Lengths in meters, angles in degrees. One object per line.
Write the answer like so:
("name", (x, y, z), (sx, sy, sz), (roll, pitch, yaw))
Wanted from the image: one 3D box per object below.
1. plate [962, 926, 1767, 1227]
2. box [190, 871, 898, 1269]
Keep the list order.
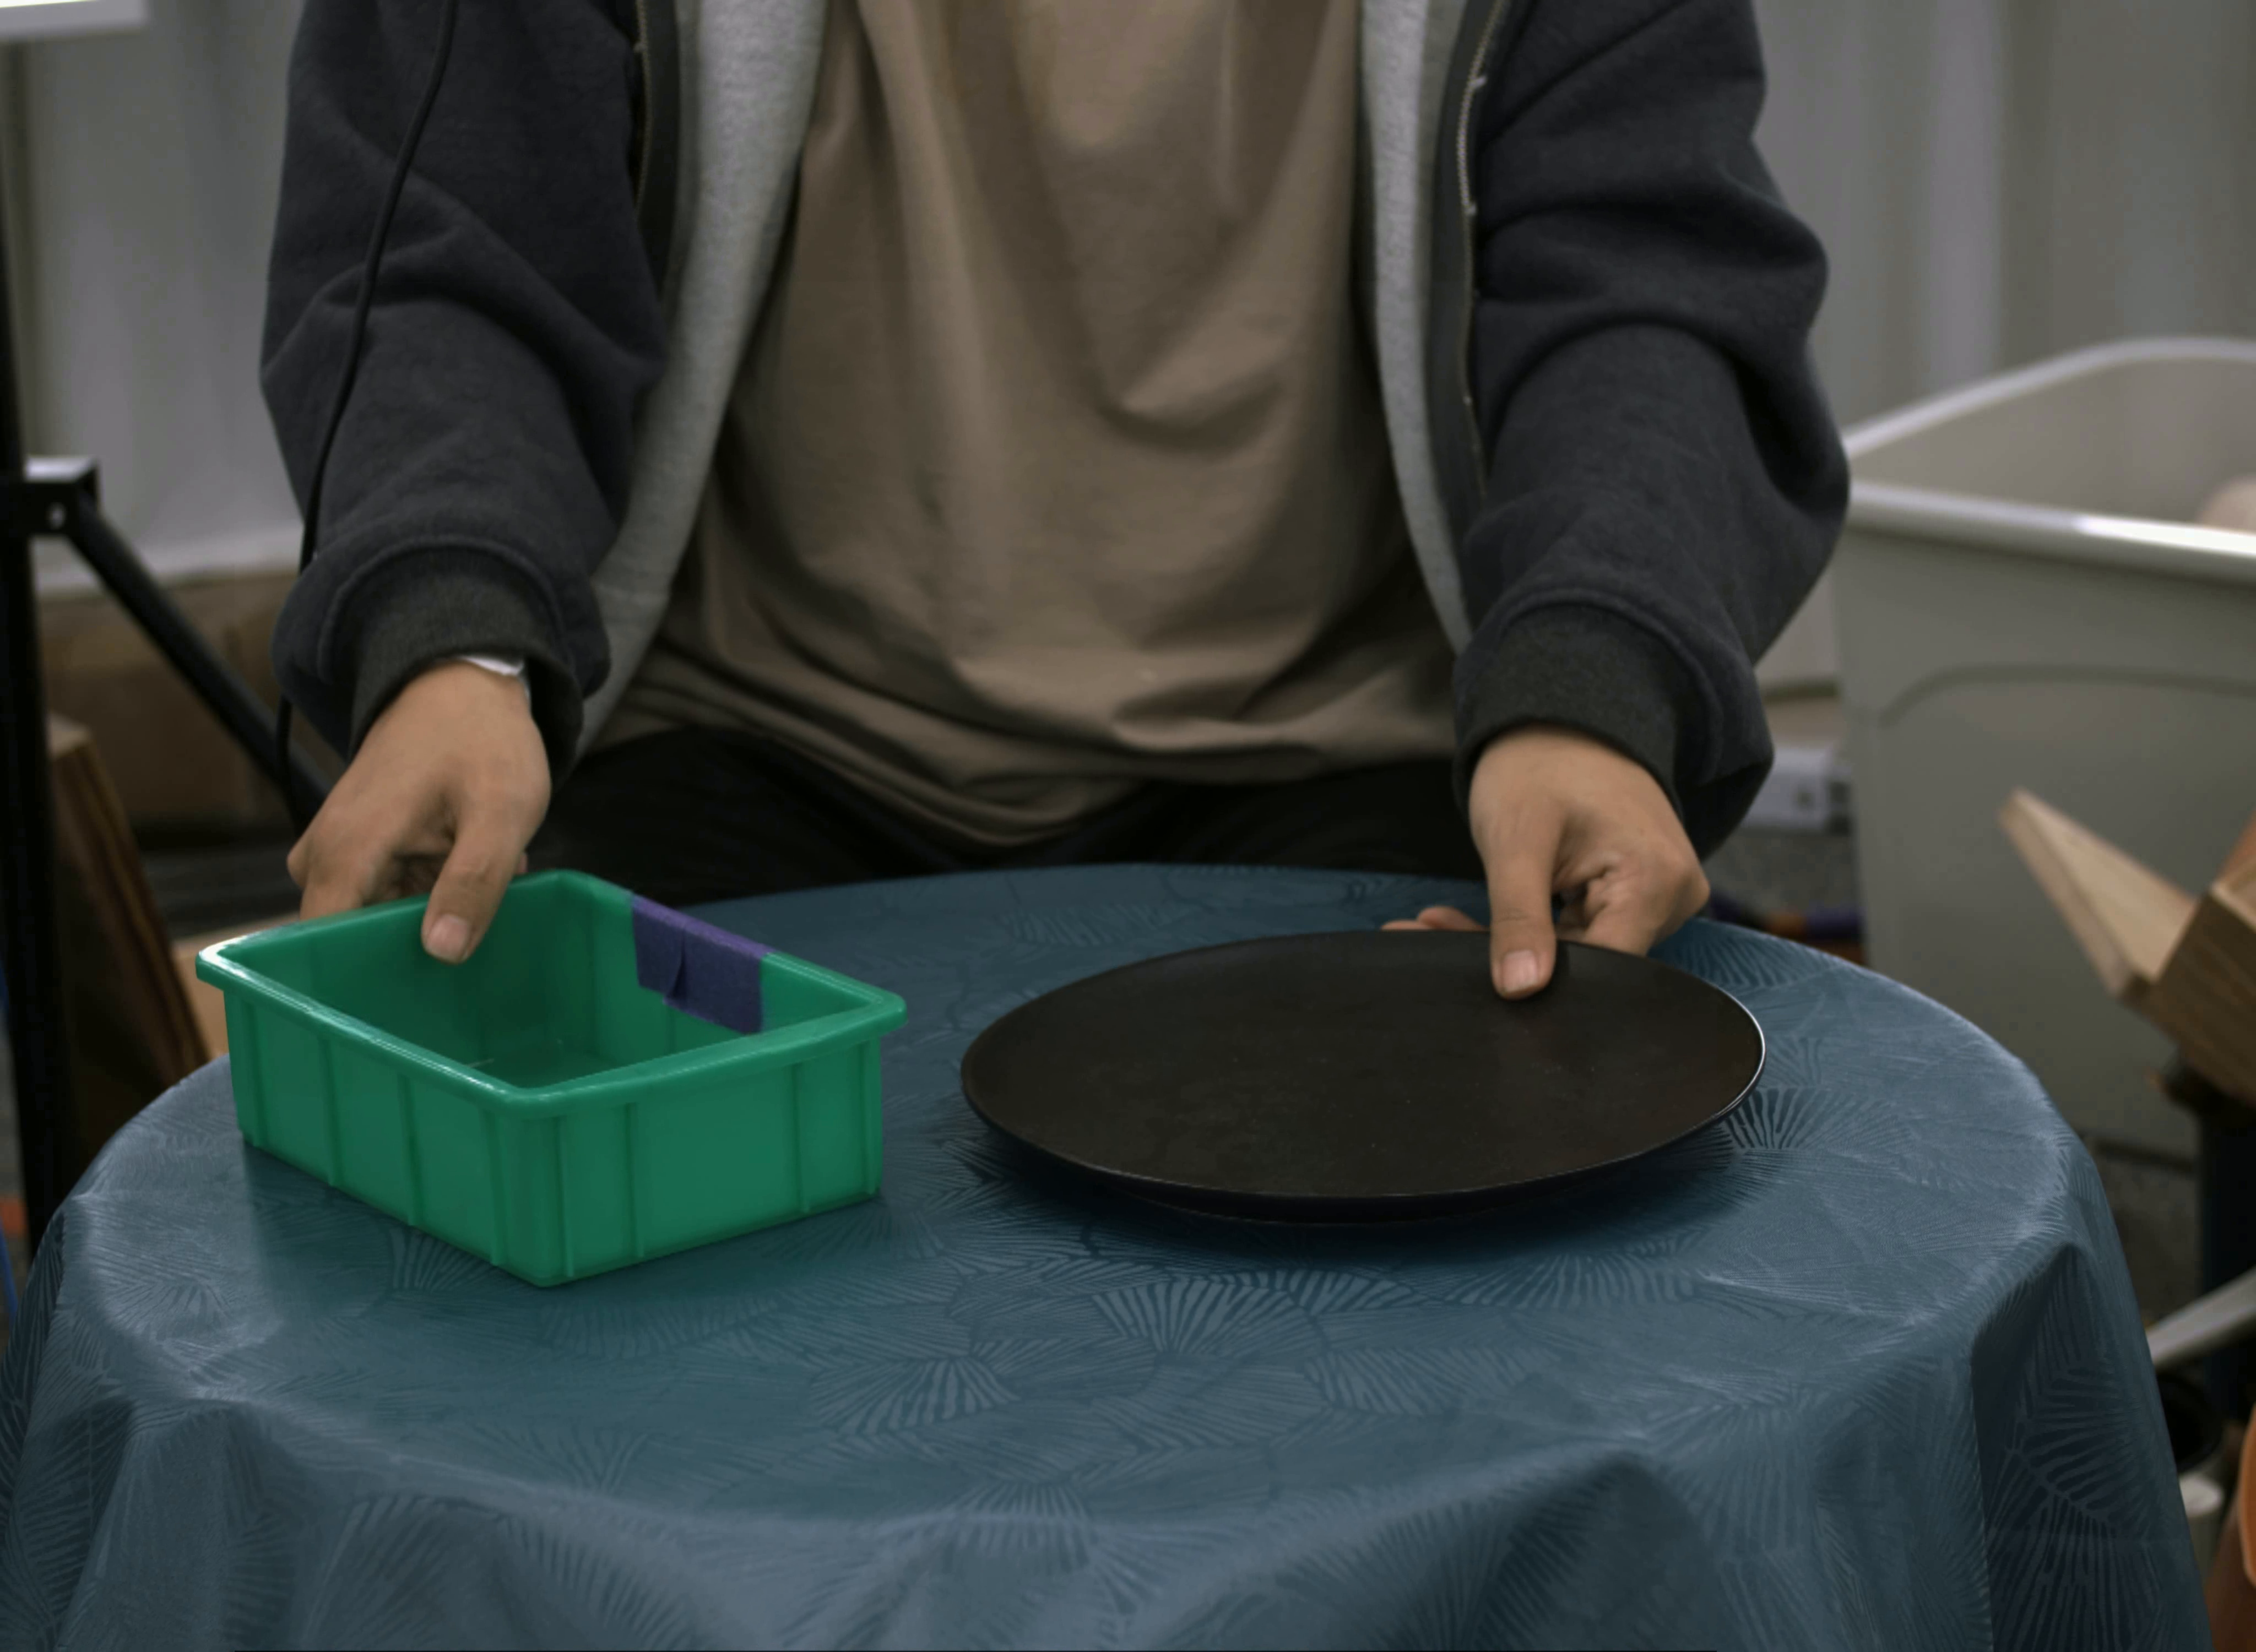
("plate", (0.071, 0.079, 1.605), (0.243, 0.023, 0.246), (-4, 17, 0))
("box", (-0.176, 0.072, 1.602), (0.135, 0.065, 0.215), (-12, 16, -35))
